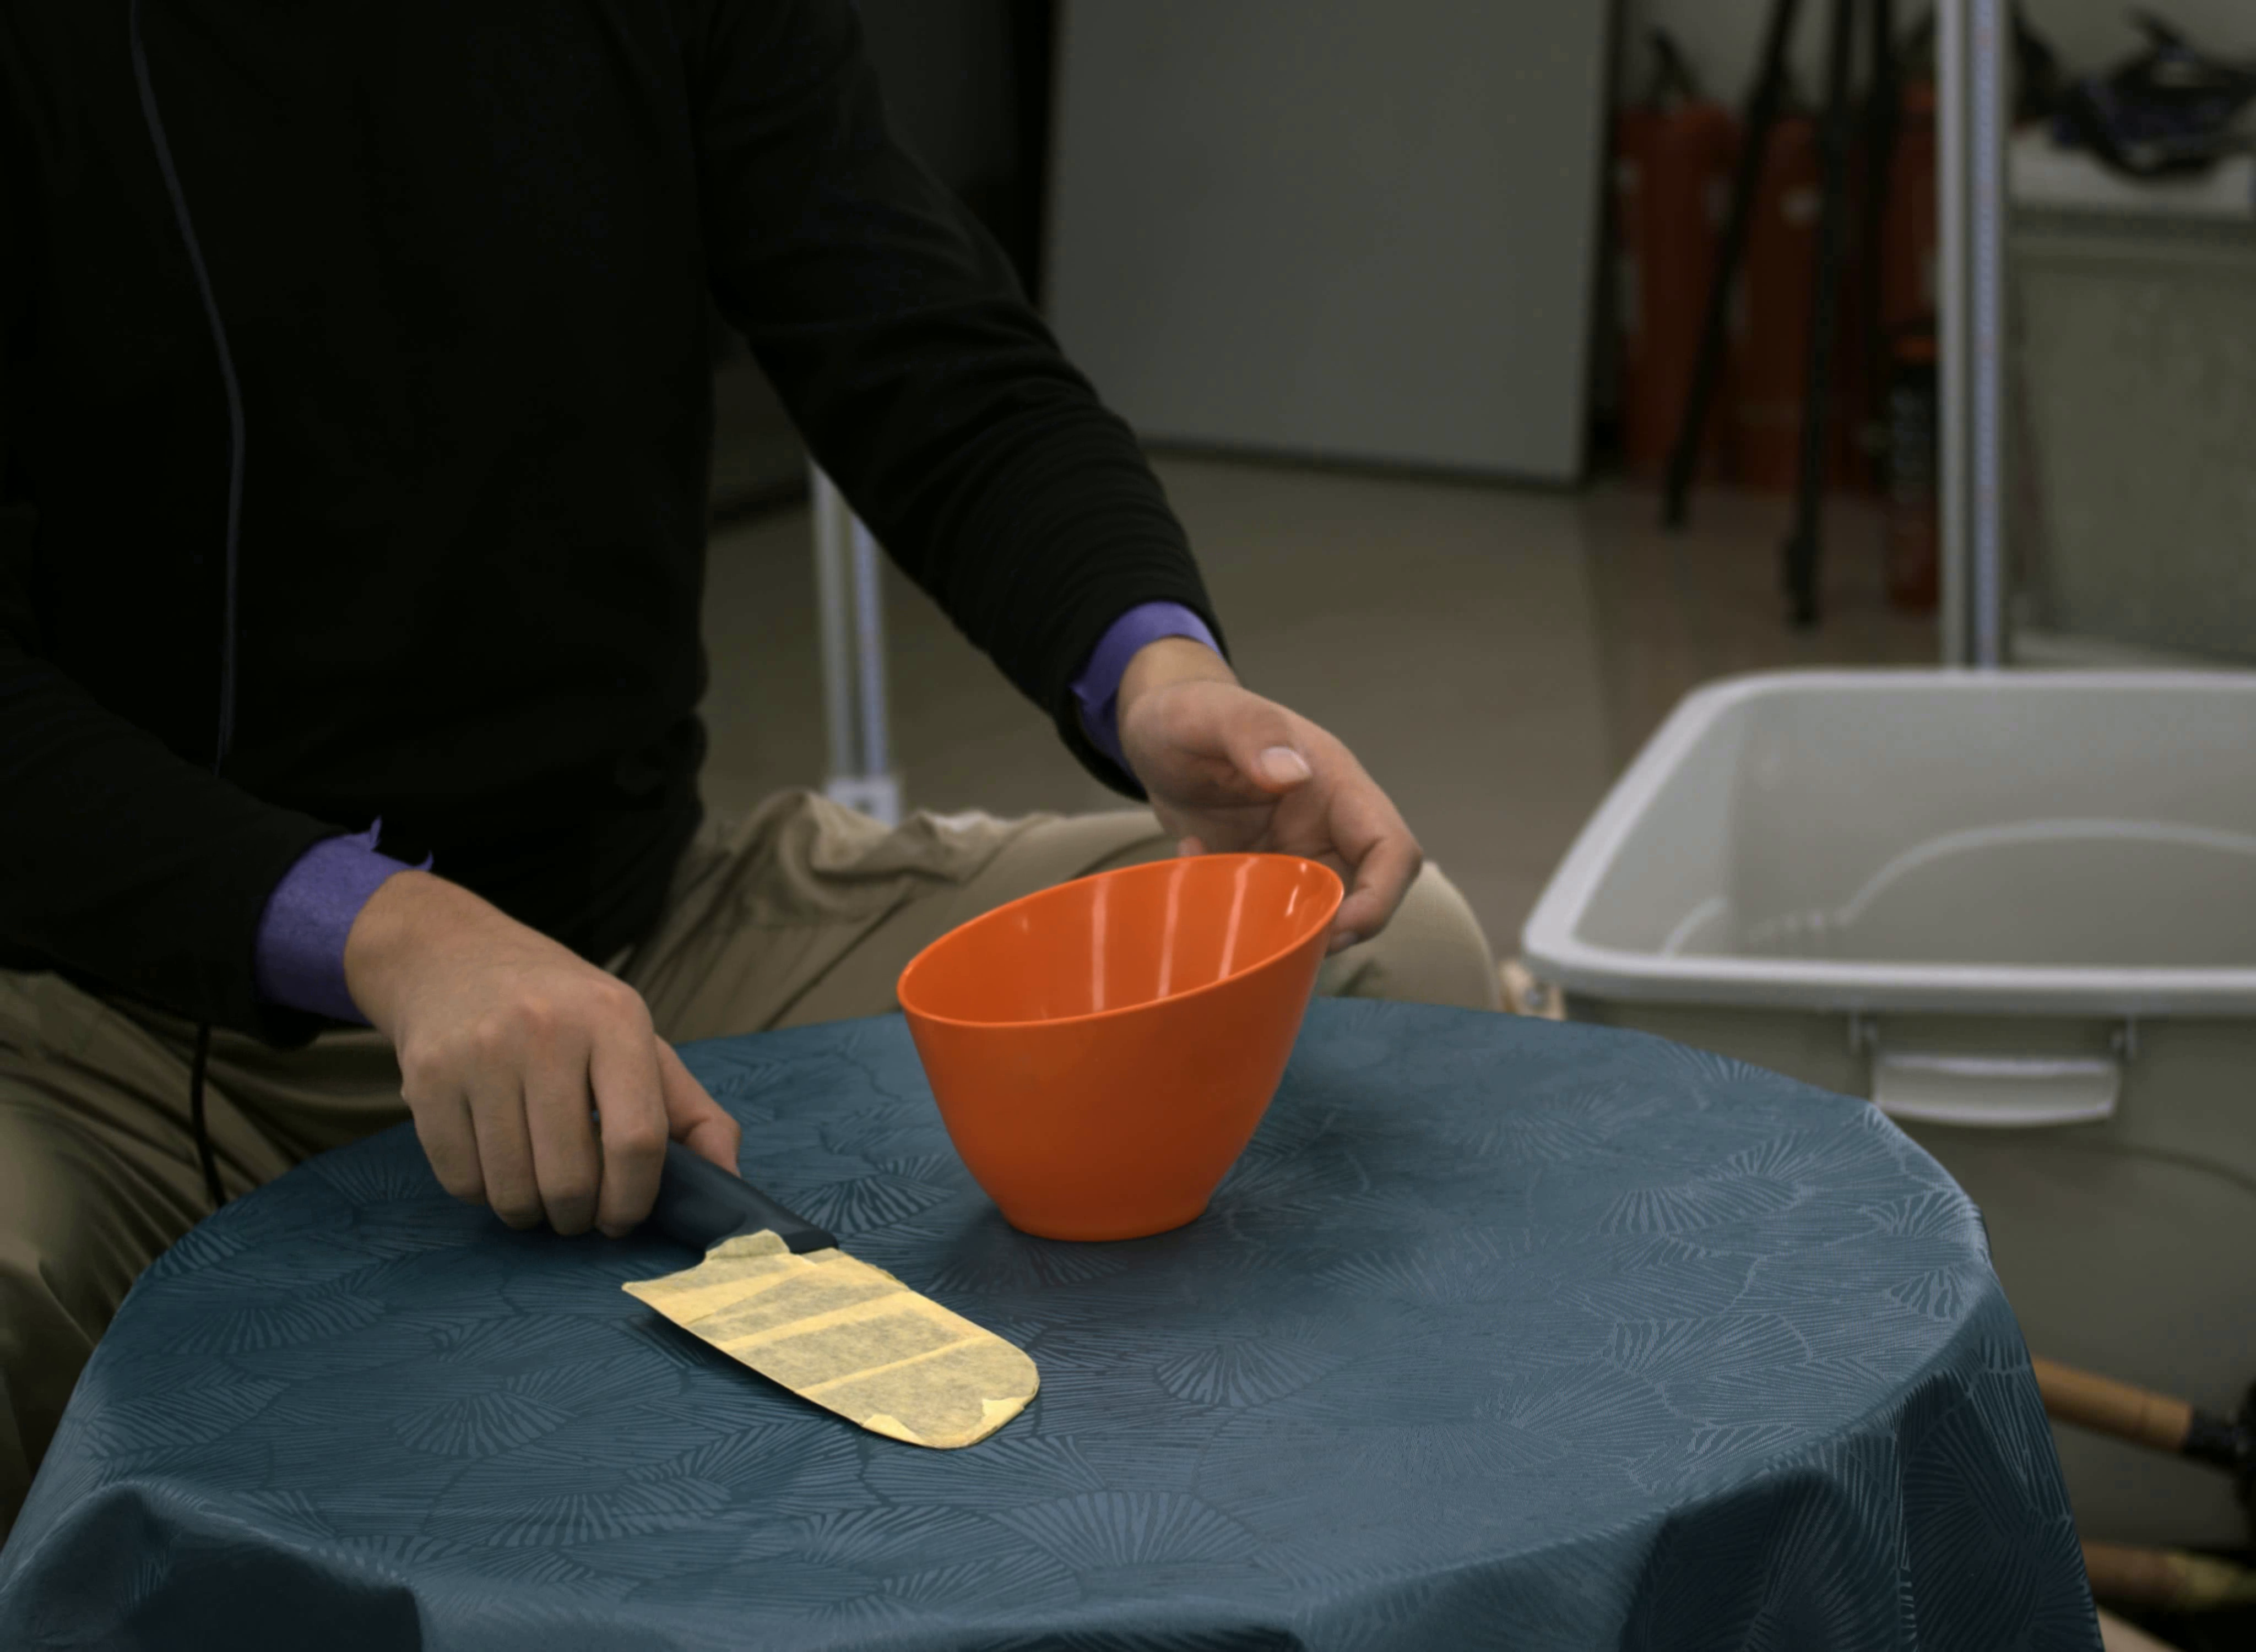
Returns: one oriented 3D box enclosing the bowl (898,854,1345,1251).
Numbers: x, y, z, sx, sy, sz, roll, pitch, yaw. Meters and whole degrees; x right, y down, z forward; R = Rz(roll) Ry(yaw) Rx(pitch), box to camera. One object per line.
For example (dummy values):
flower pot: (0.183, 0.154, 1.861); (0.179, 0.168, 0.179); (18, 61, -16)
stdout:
bowl: (0.001, 0.076, 1.746); (0.146, 0.106, 0.148); (-5, 14, 0)

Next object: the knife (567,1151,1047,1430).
knife: (-0.113, 0.146, 1.681); (0.079, 0.027, 0.292); (-9, 15, -30)
